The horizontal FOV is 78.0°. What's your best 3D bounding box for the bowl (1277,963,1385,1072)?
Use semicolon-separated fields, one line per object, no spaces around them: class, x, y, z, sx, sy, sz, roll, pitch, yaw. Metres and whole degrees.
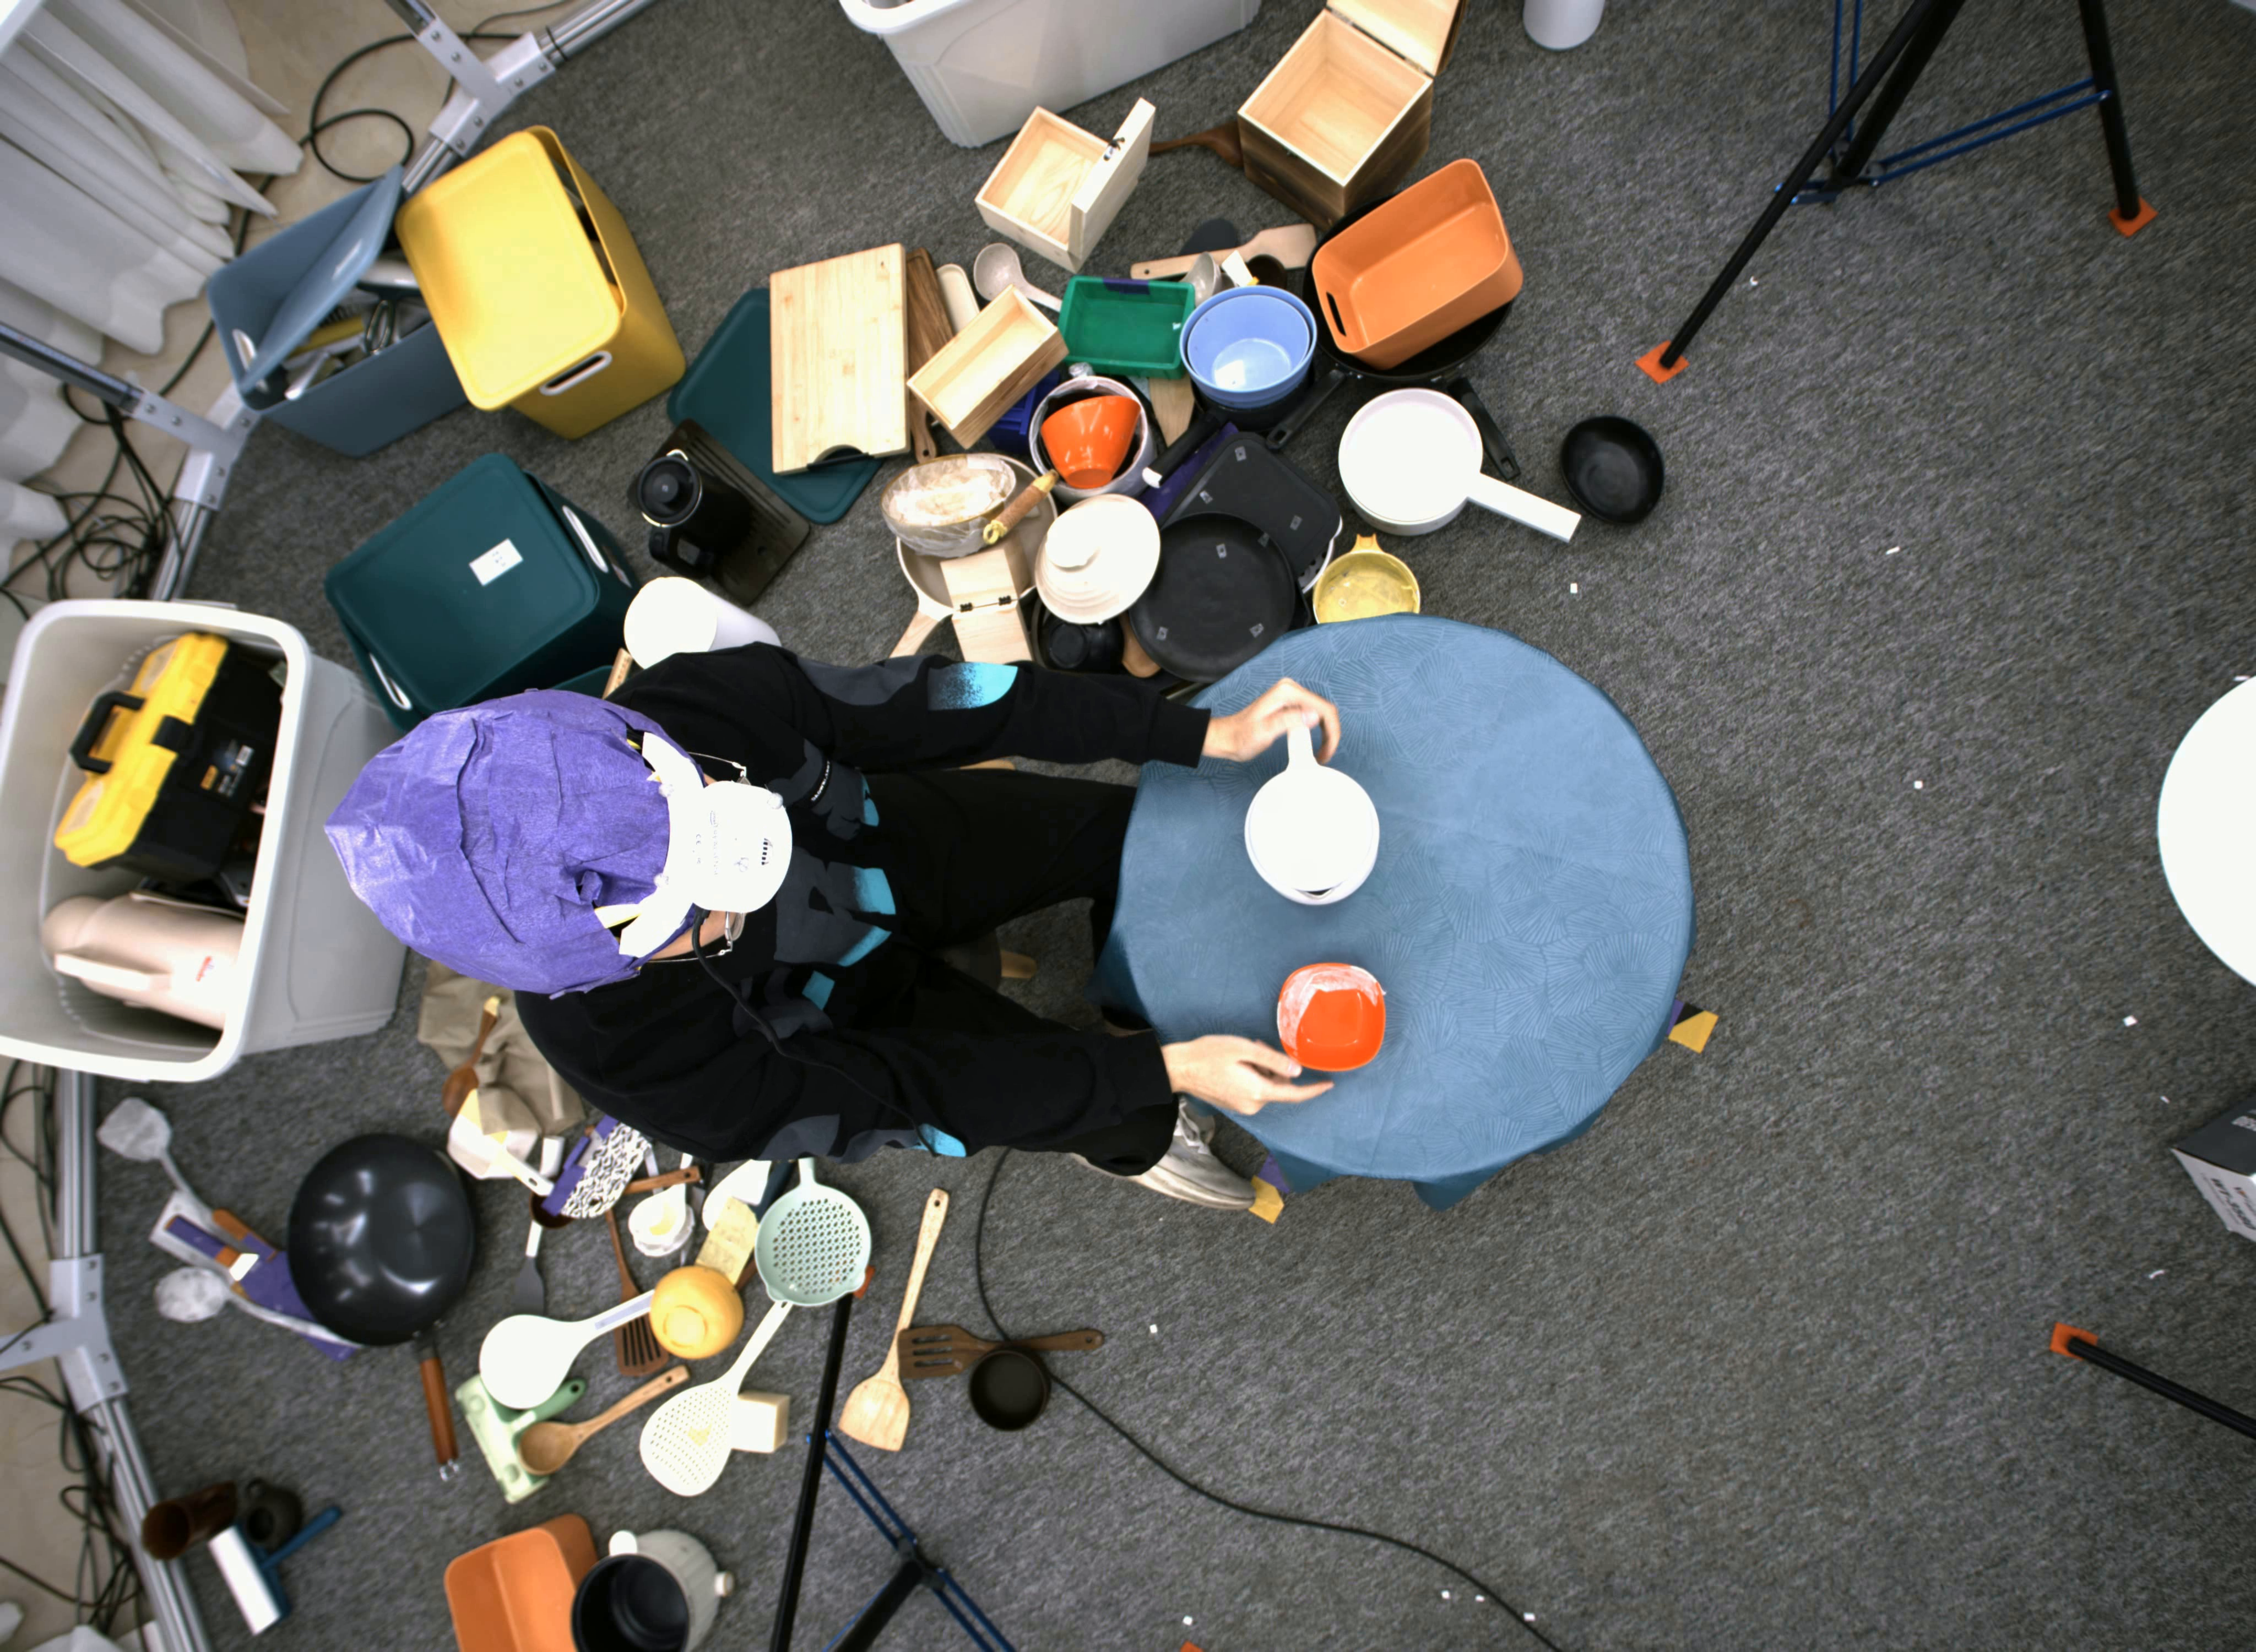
bowl;0.210;0.195;1.436;0.119;0.051;0.119;0;90;8

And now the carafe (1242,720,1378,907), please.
carafe;0.180;-0.013;1.390;0.133;0.183;0.189;-10;82;8
